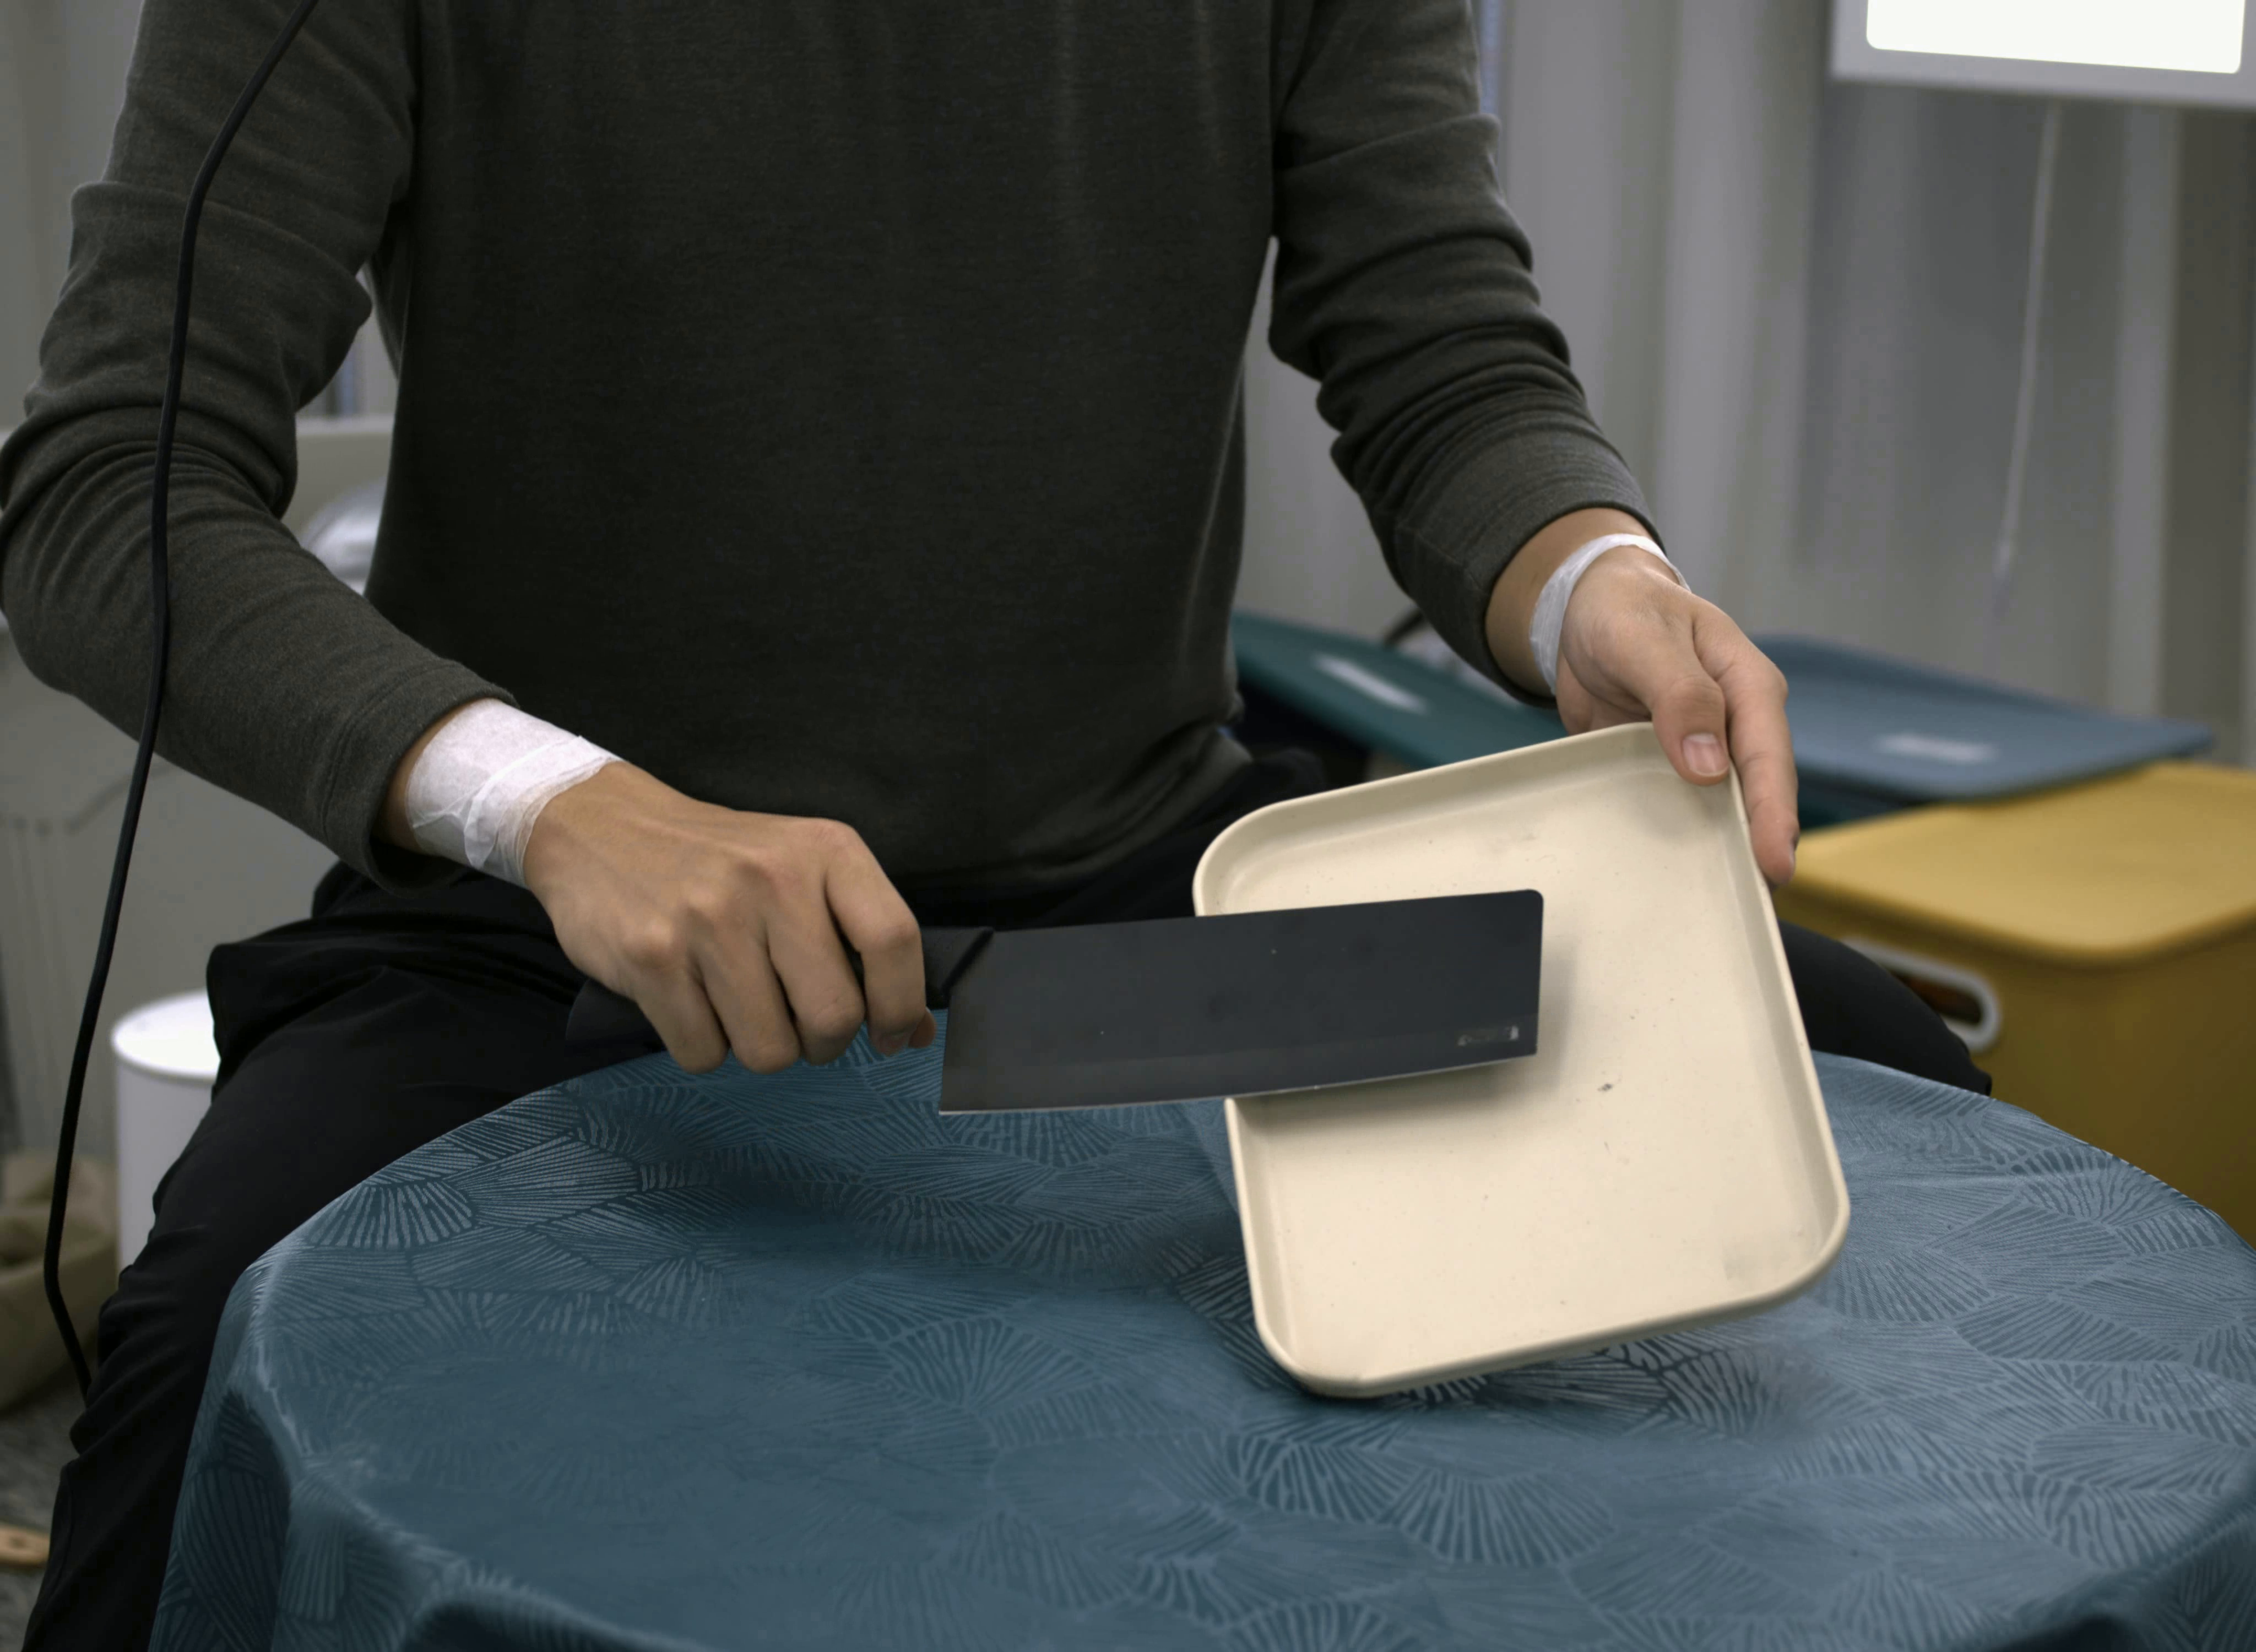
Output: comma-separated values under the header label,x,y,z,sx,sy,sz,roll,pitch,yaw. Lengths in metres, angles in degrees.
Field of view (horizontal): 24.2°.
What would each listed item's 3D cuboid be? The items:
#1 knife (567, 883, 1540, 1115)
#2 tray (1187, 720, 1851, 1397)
label,x,y,z,sx,sy,sz,roll,pitch,yaw
knife,-0.024,0.053,1.566,0.300,0.021,0.080,-2,53,16
tray,0.110,0.066,1.533,0.170,0.018,0.237,-12,44,4
